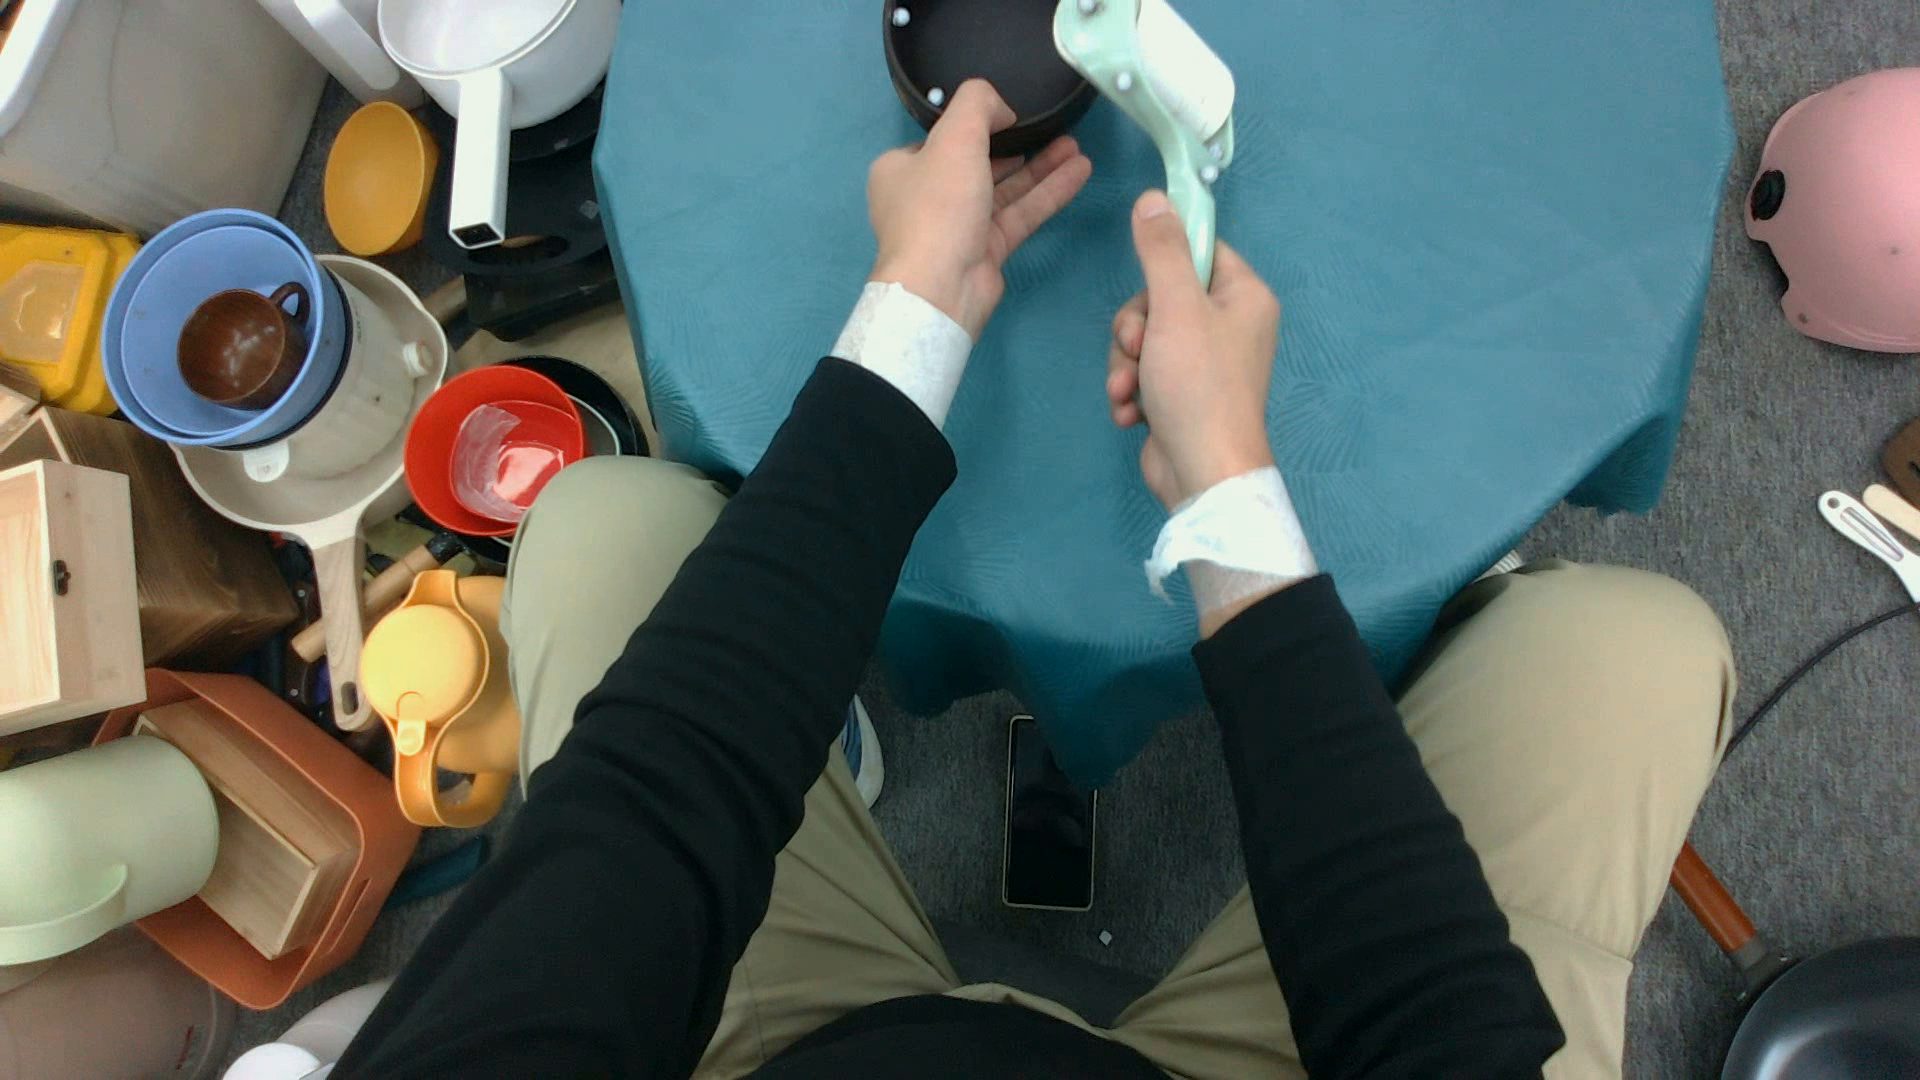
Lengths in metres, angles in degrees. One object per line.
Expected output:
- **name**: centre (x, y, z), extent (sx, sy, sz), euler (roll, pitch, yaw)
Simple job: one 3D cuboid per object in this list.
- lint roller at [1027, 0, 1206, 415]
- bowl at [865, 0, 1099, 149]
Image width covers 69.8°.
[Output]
- **lint roller**: centre (0.082, -0.157, 0.640), extent (0.048, 0.117, 0.198), euler (-13, 75, 29)
- **bowl**: centre (0.011, -0.258, 0.712), extent (0.118, 0.070, 0.118), euler (0, 84, 0)
